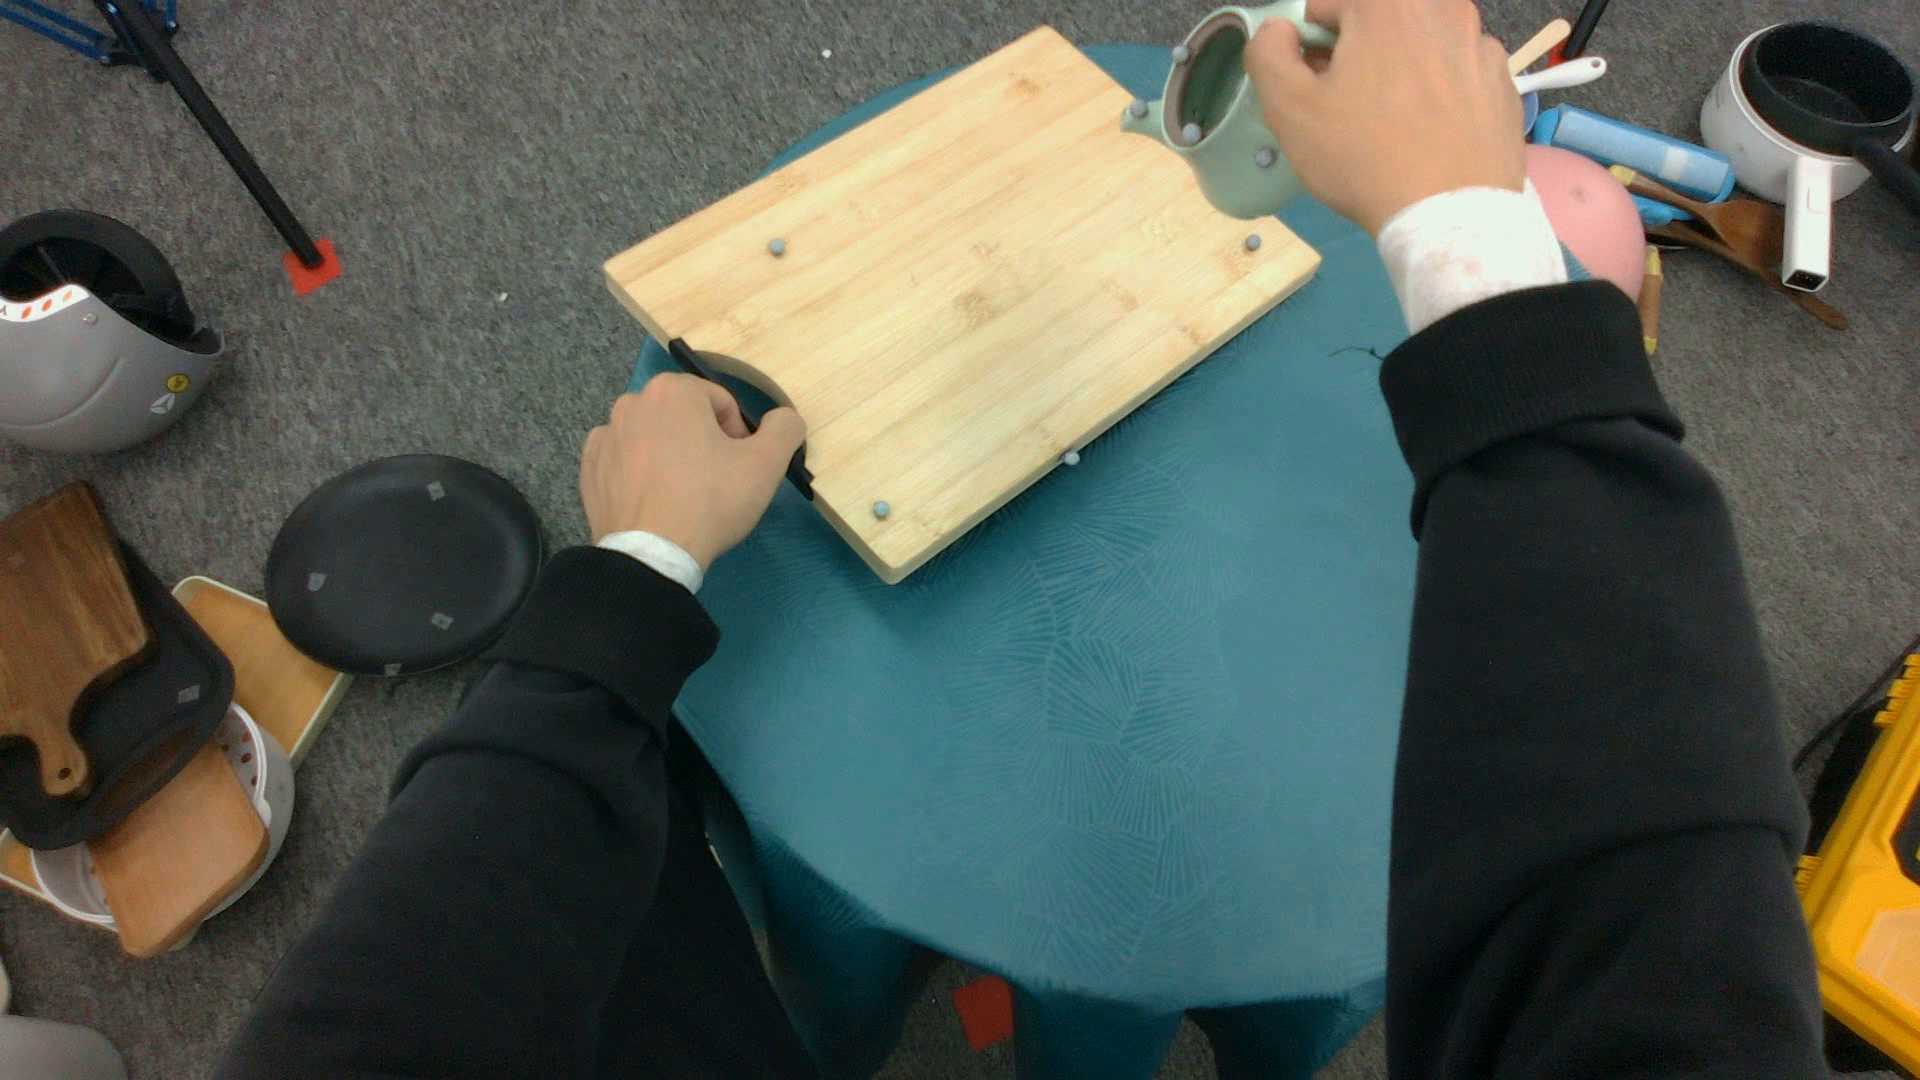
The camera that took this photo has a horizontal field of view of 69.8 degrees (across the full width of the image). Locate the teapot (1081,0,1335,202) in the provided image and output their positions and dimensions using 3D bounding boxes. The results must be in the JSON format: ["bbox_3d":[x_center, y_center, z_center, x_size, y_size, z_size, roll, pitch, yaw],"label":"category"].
[{"bbox_3d":[0.115,-0.201,0.605,0.061,0.136,0.096,13,82,-30],"label":"teapot"}]

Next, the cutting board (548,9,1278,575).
[{"bbox_3d":[-0.014,-0.160,0.782,0.350,0.023,0.251,-38,73,-27],"label":"cutting board"}]
